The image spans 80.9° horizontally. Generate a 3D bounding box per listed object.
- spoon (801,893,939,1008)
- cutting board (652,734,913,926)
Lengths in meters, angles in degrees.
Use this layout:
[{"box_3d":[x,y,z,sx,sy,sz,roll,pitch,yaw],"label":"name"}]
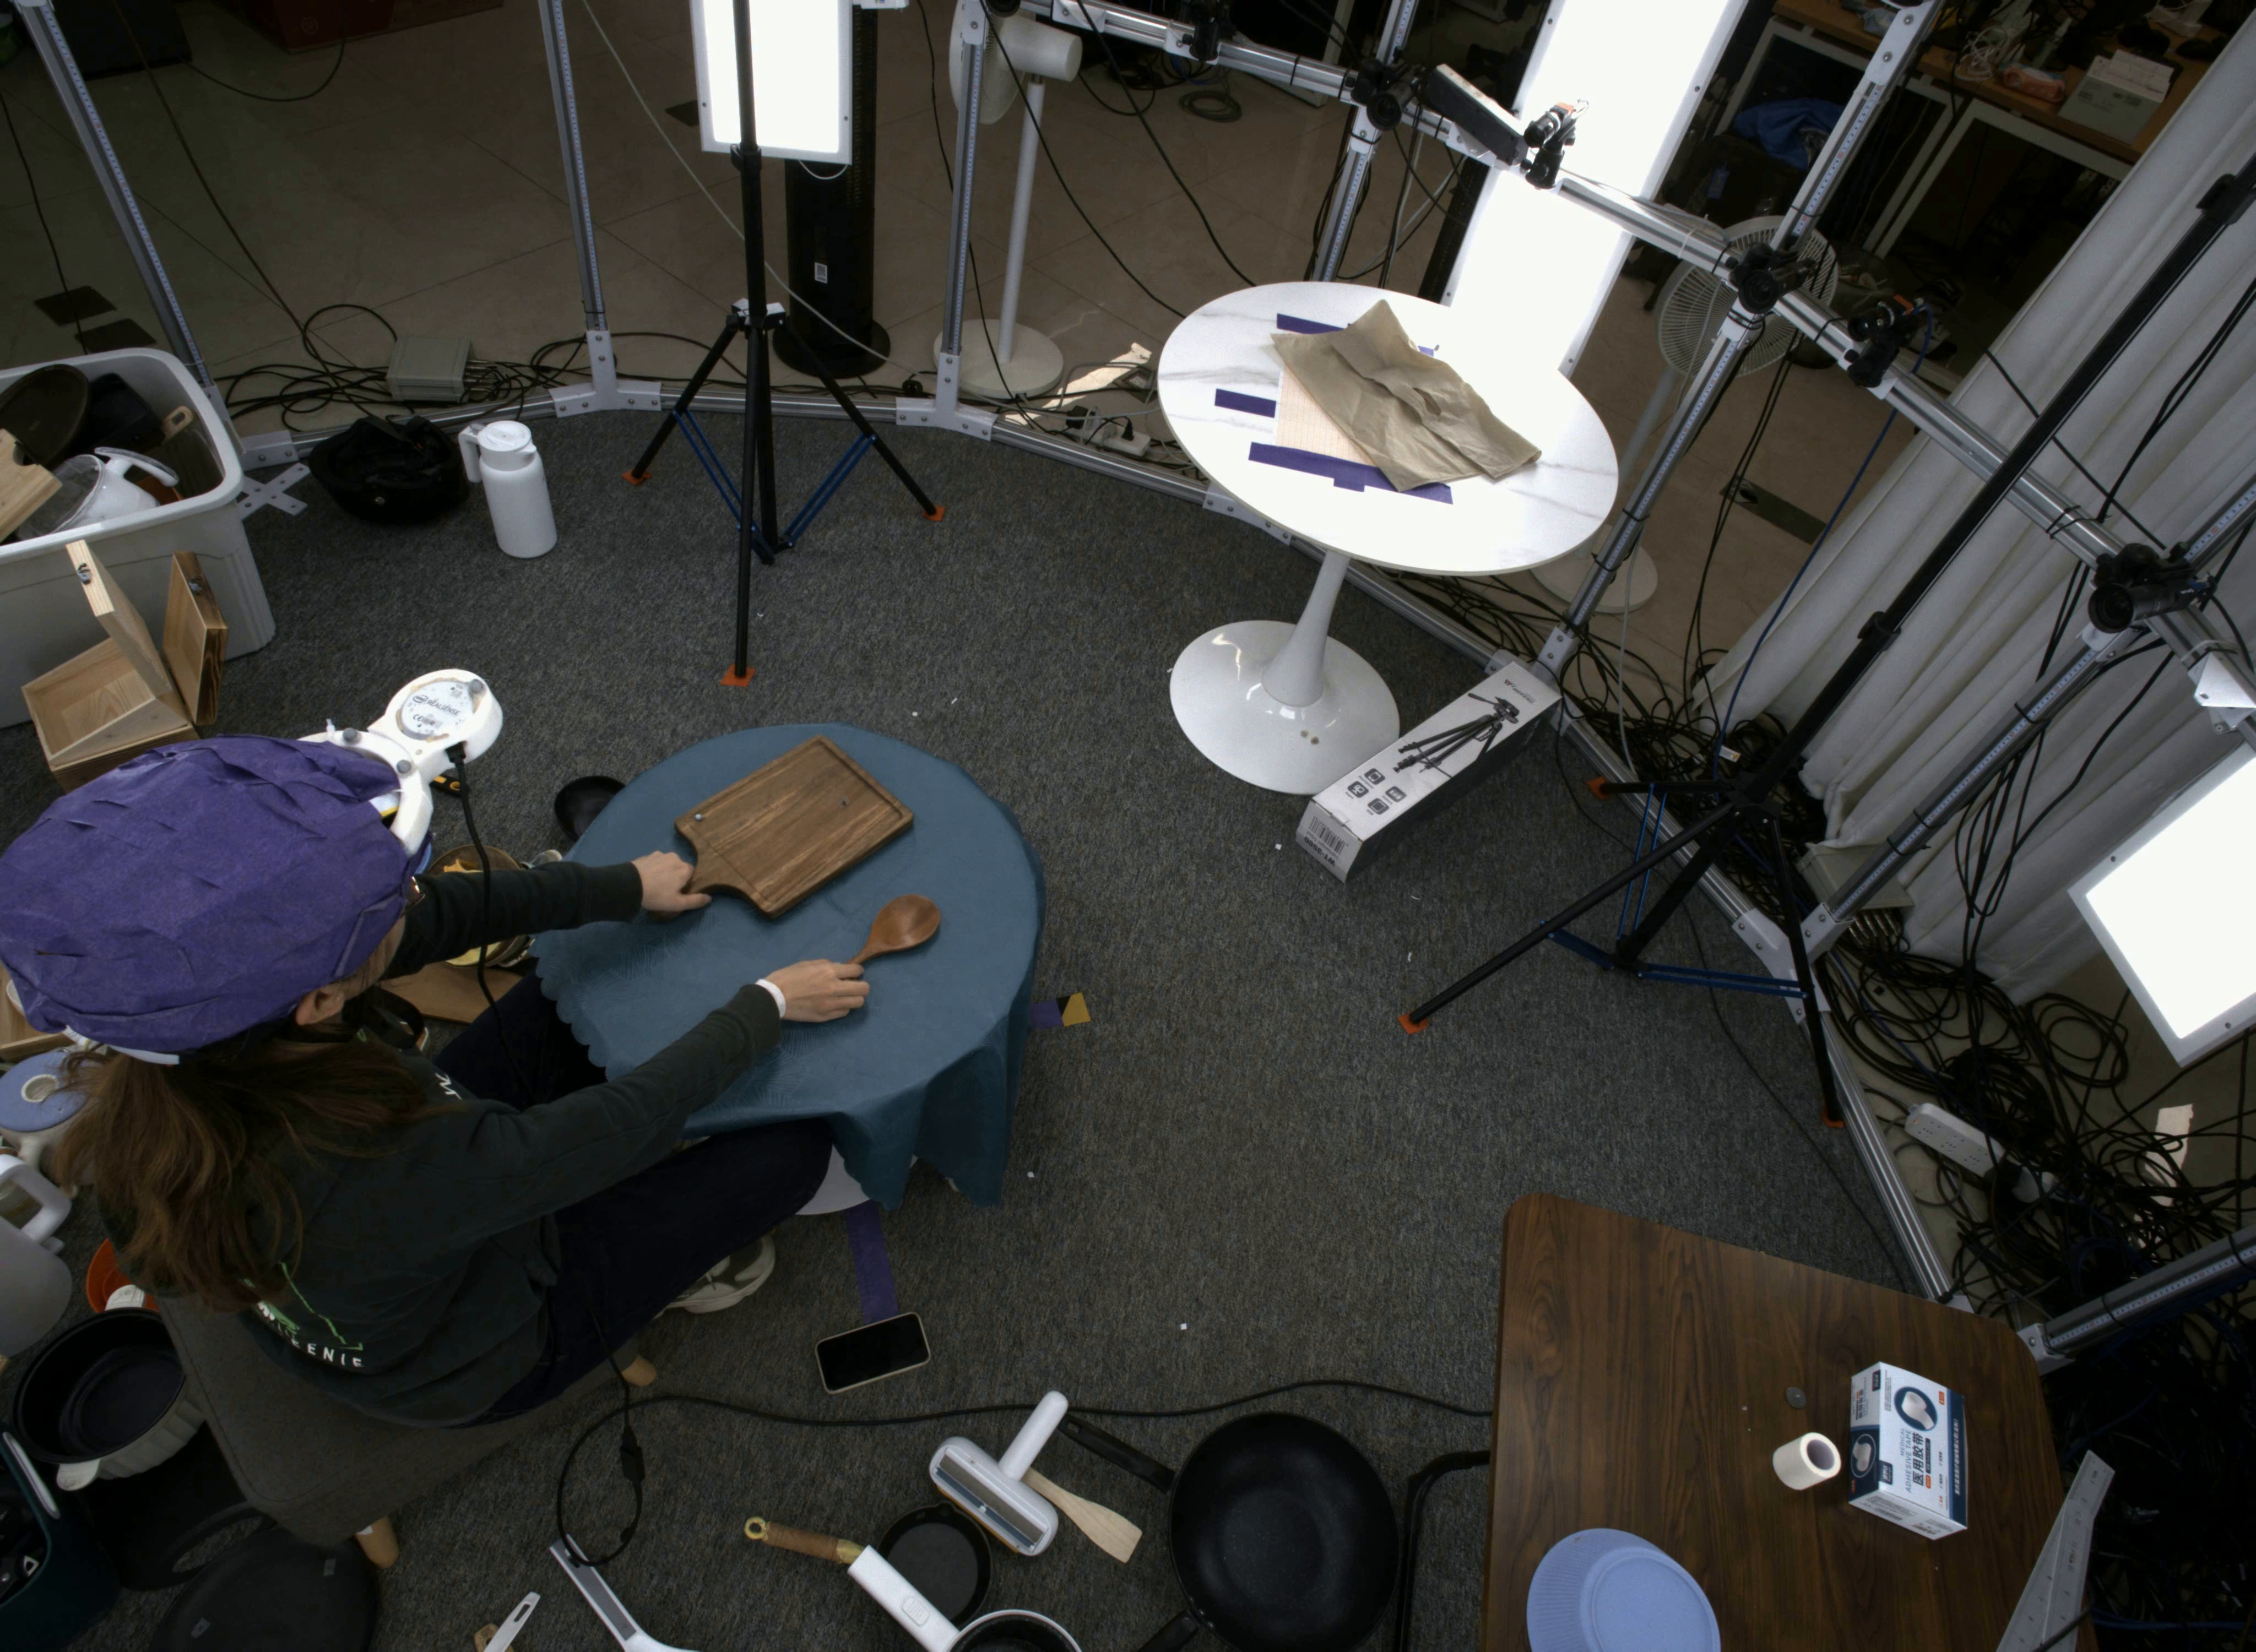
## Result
[{"box_3d":[-0.324,0.155,1.627,0.074,0.017,0.216,40,54,14],"label":"spoon"},{"box_3d":[-0.471,0.020,1.685,0.197,0.023,0.353,41,53,15],"label":"cutting board"}]
